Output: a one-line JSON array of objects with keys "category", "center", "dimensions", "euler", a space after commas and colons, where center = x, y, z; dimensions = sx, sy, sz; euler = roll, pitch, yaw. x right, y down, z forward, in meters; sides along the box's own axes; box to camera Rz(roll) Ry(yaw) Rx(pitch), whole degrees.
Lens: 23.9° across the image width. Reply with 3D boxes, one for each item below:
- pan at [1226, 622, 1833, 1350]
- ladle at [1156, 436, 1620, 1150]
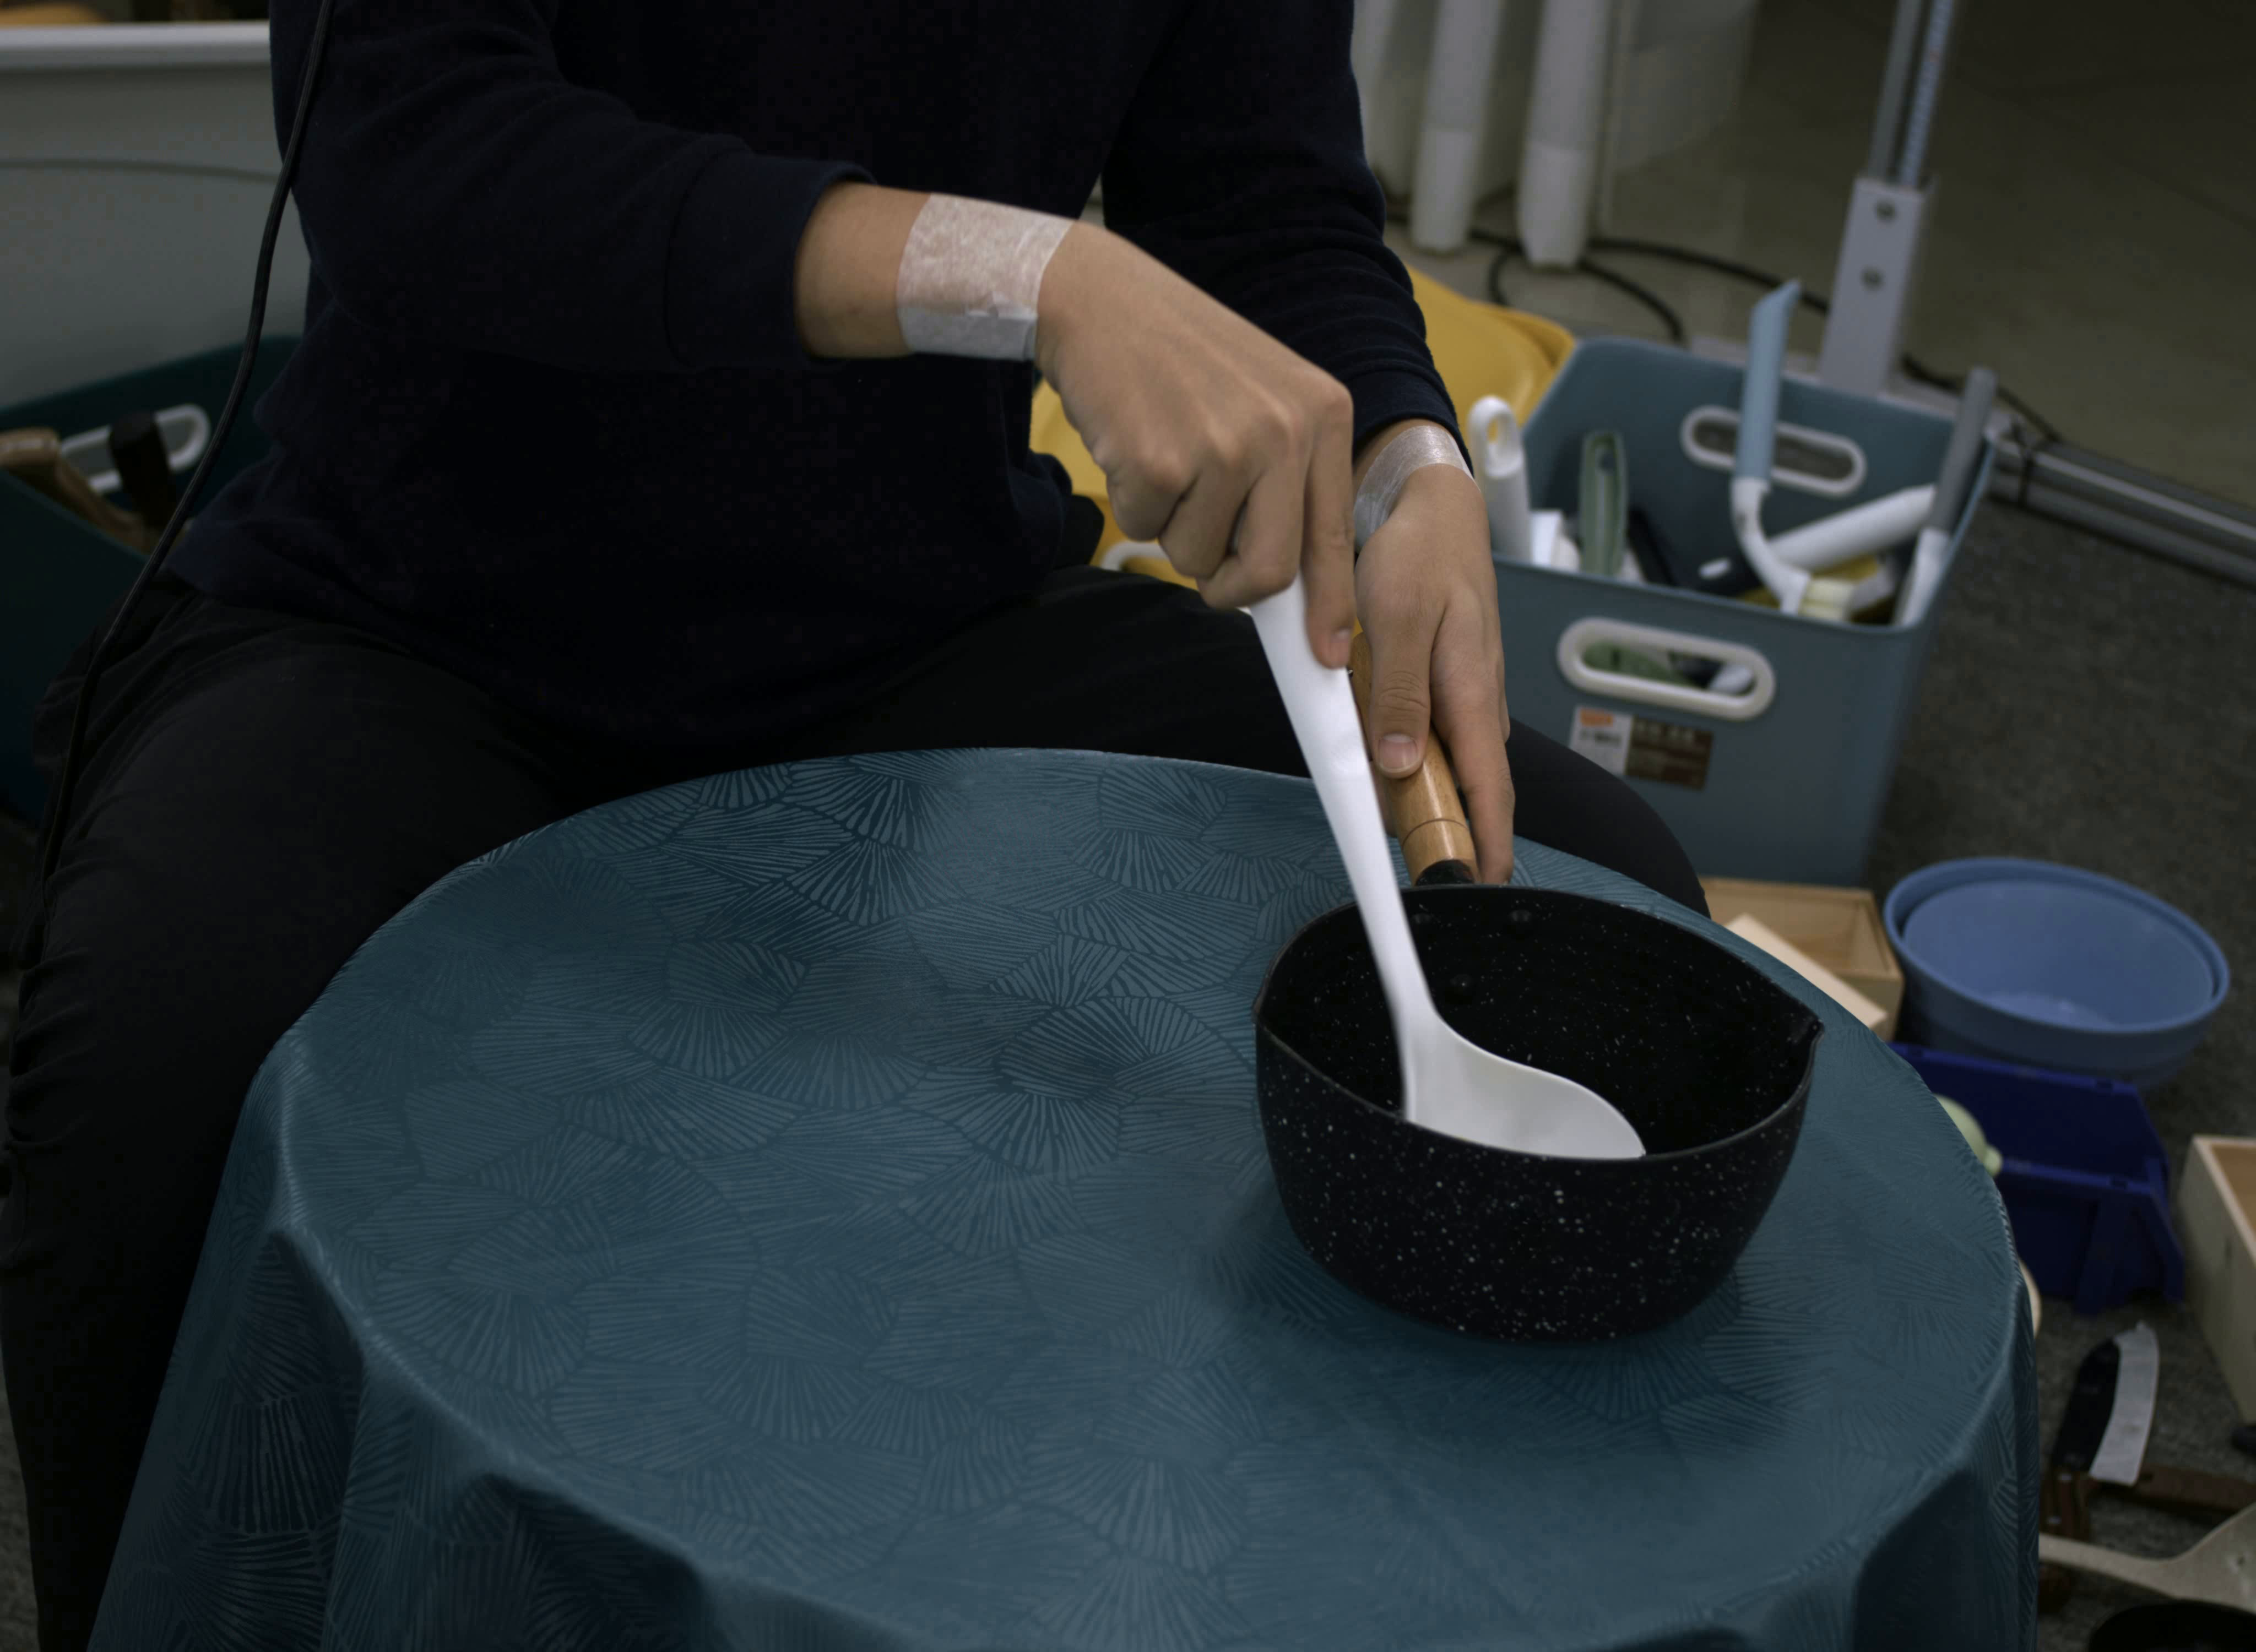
[{"category": "pan", "center": [0.117, 0.052, 1.850], "dimensions": [0.206, 0.108, 0.345], "euler": [-1, 29, -13]}, {"category": "ladle", "center": [0.081, 0.009, 1.776], "dimensions": [0.090, 0.293, 0.070], "euler": [-22, 4, -26]}]
